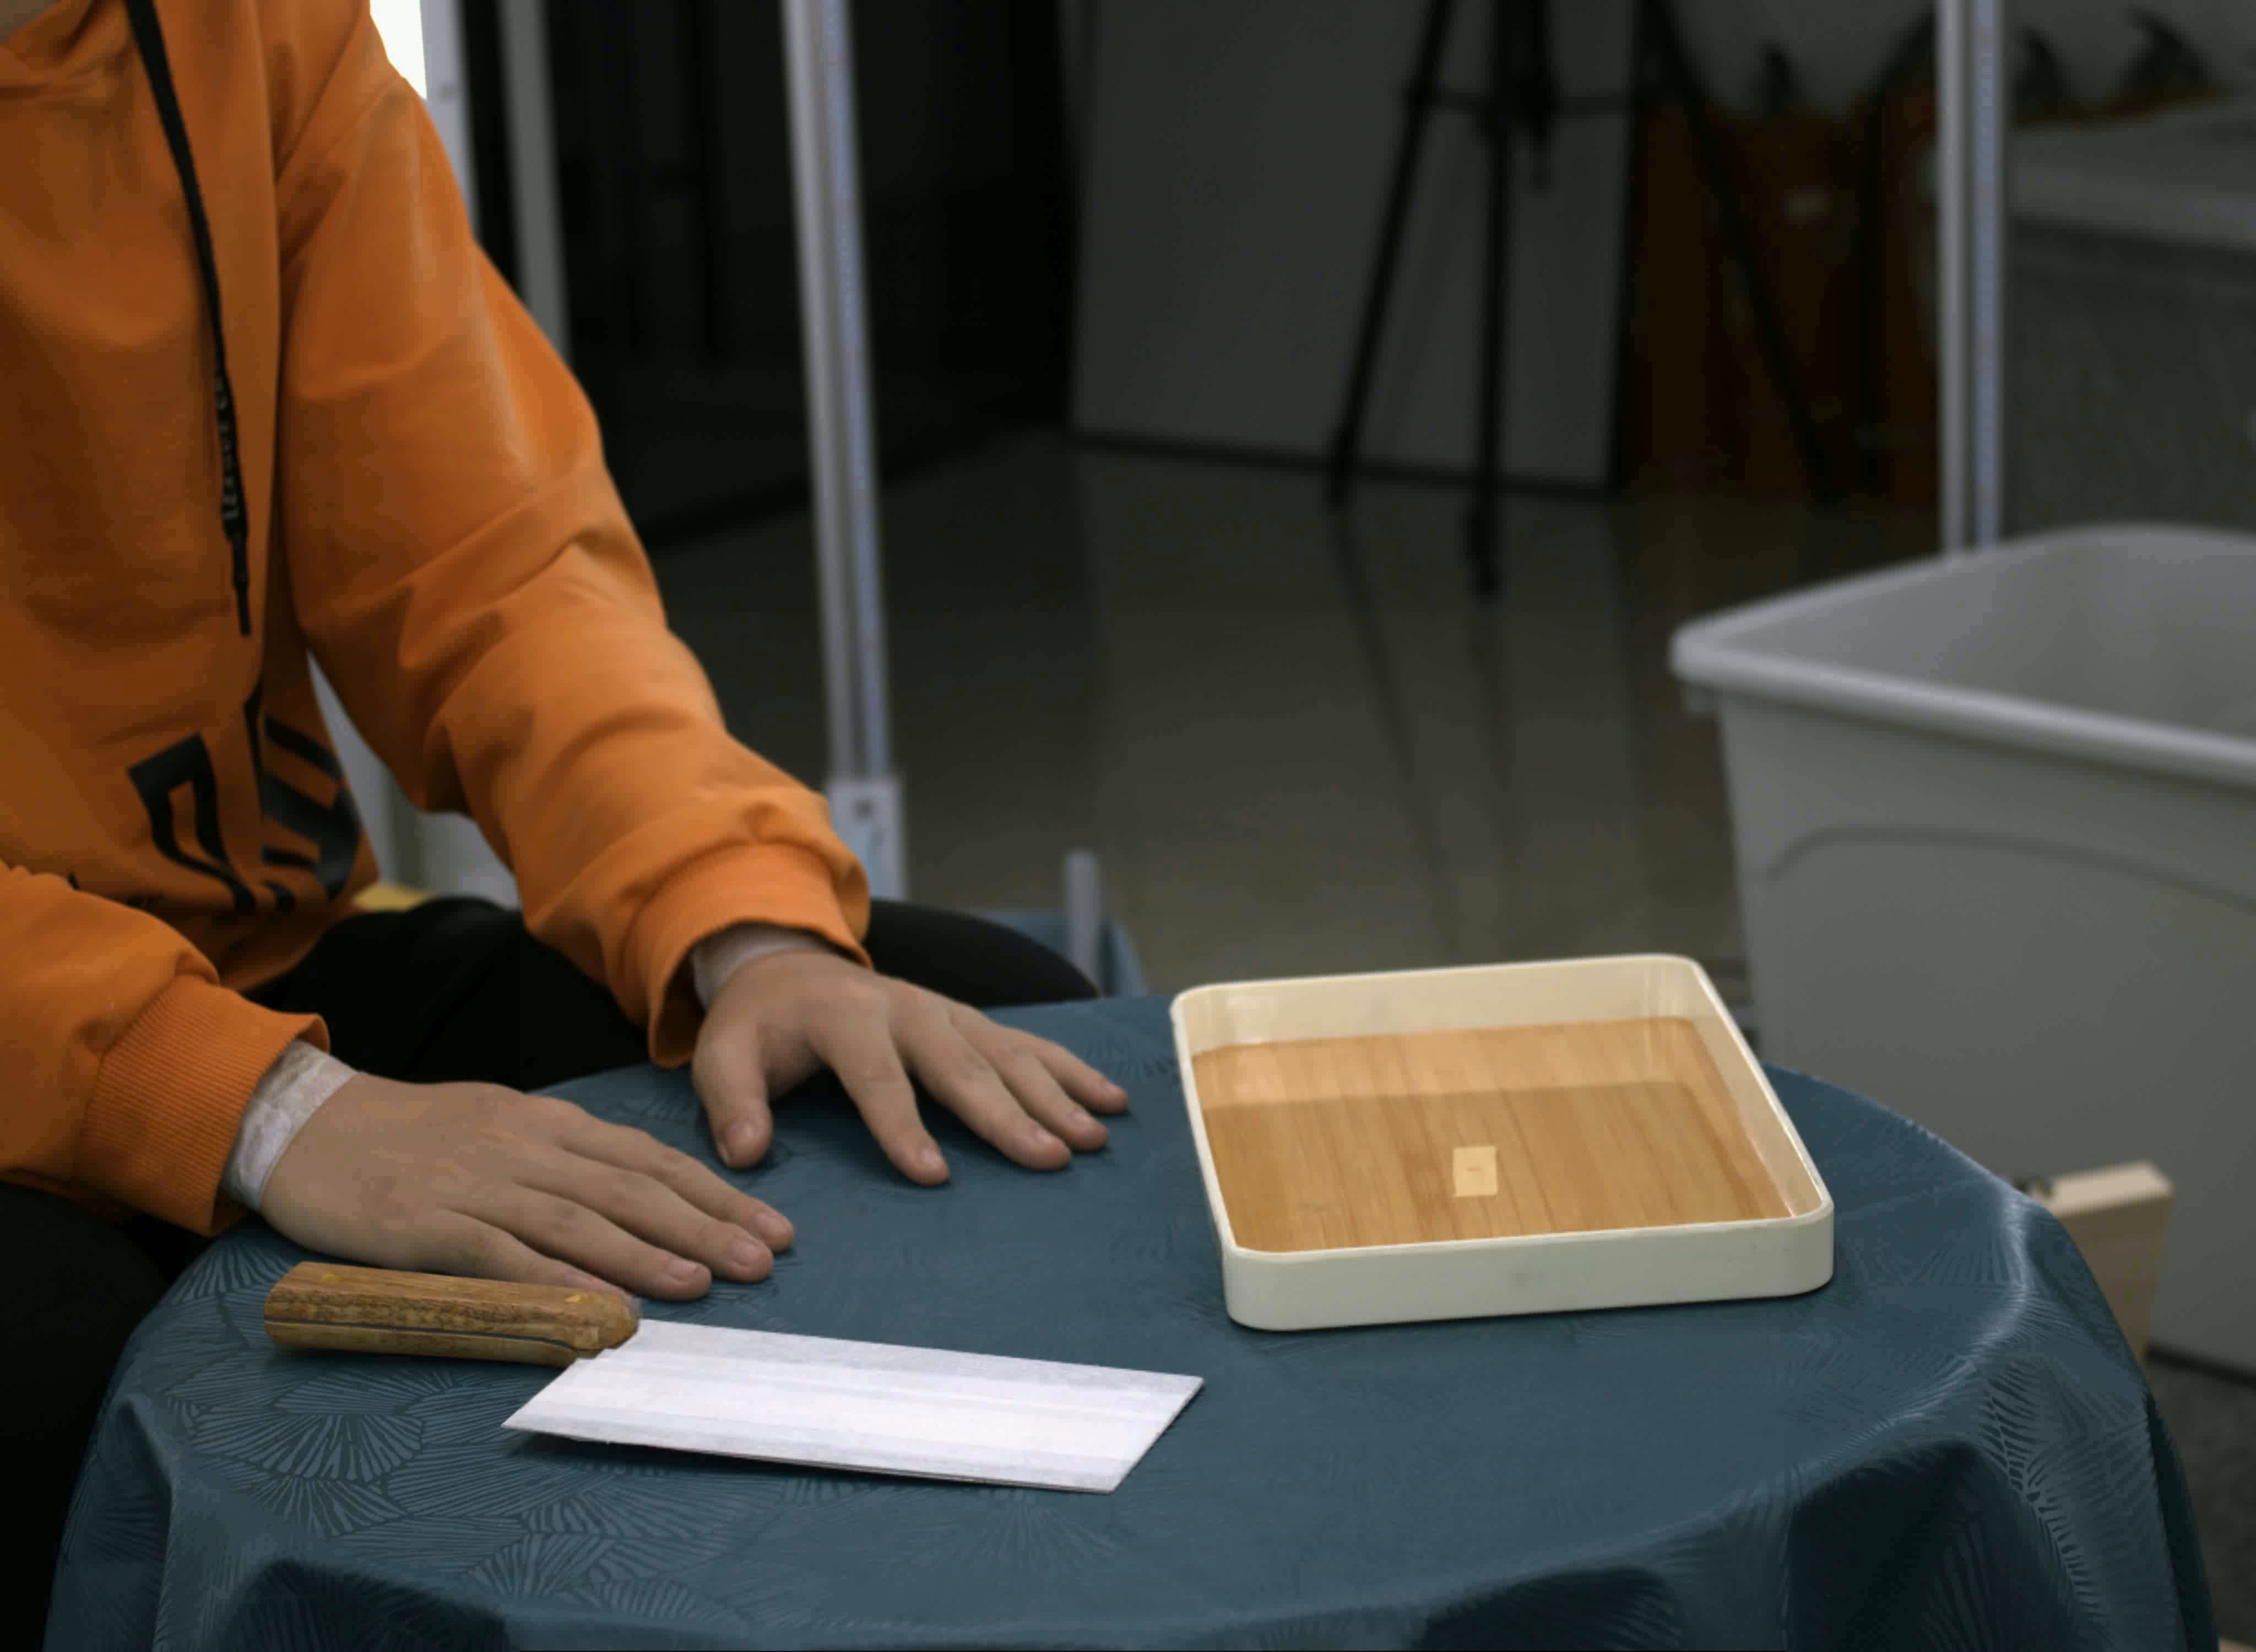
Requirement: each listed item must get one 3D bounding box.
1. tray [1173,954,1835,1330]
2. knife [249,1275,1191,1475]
[{"bbox_3d":[0.116,0.100,1.765,0.189,0.028,0.301,-5,14,-1],"label":"tray"},{"bbox_3d":[-0.132,0.165,1.599,0.305,0.021,0.092,3,17,20],"label":"knife"}]
